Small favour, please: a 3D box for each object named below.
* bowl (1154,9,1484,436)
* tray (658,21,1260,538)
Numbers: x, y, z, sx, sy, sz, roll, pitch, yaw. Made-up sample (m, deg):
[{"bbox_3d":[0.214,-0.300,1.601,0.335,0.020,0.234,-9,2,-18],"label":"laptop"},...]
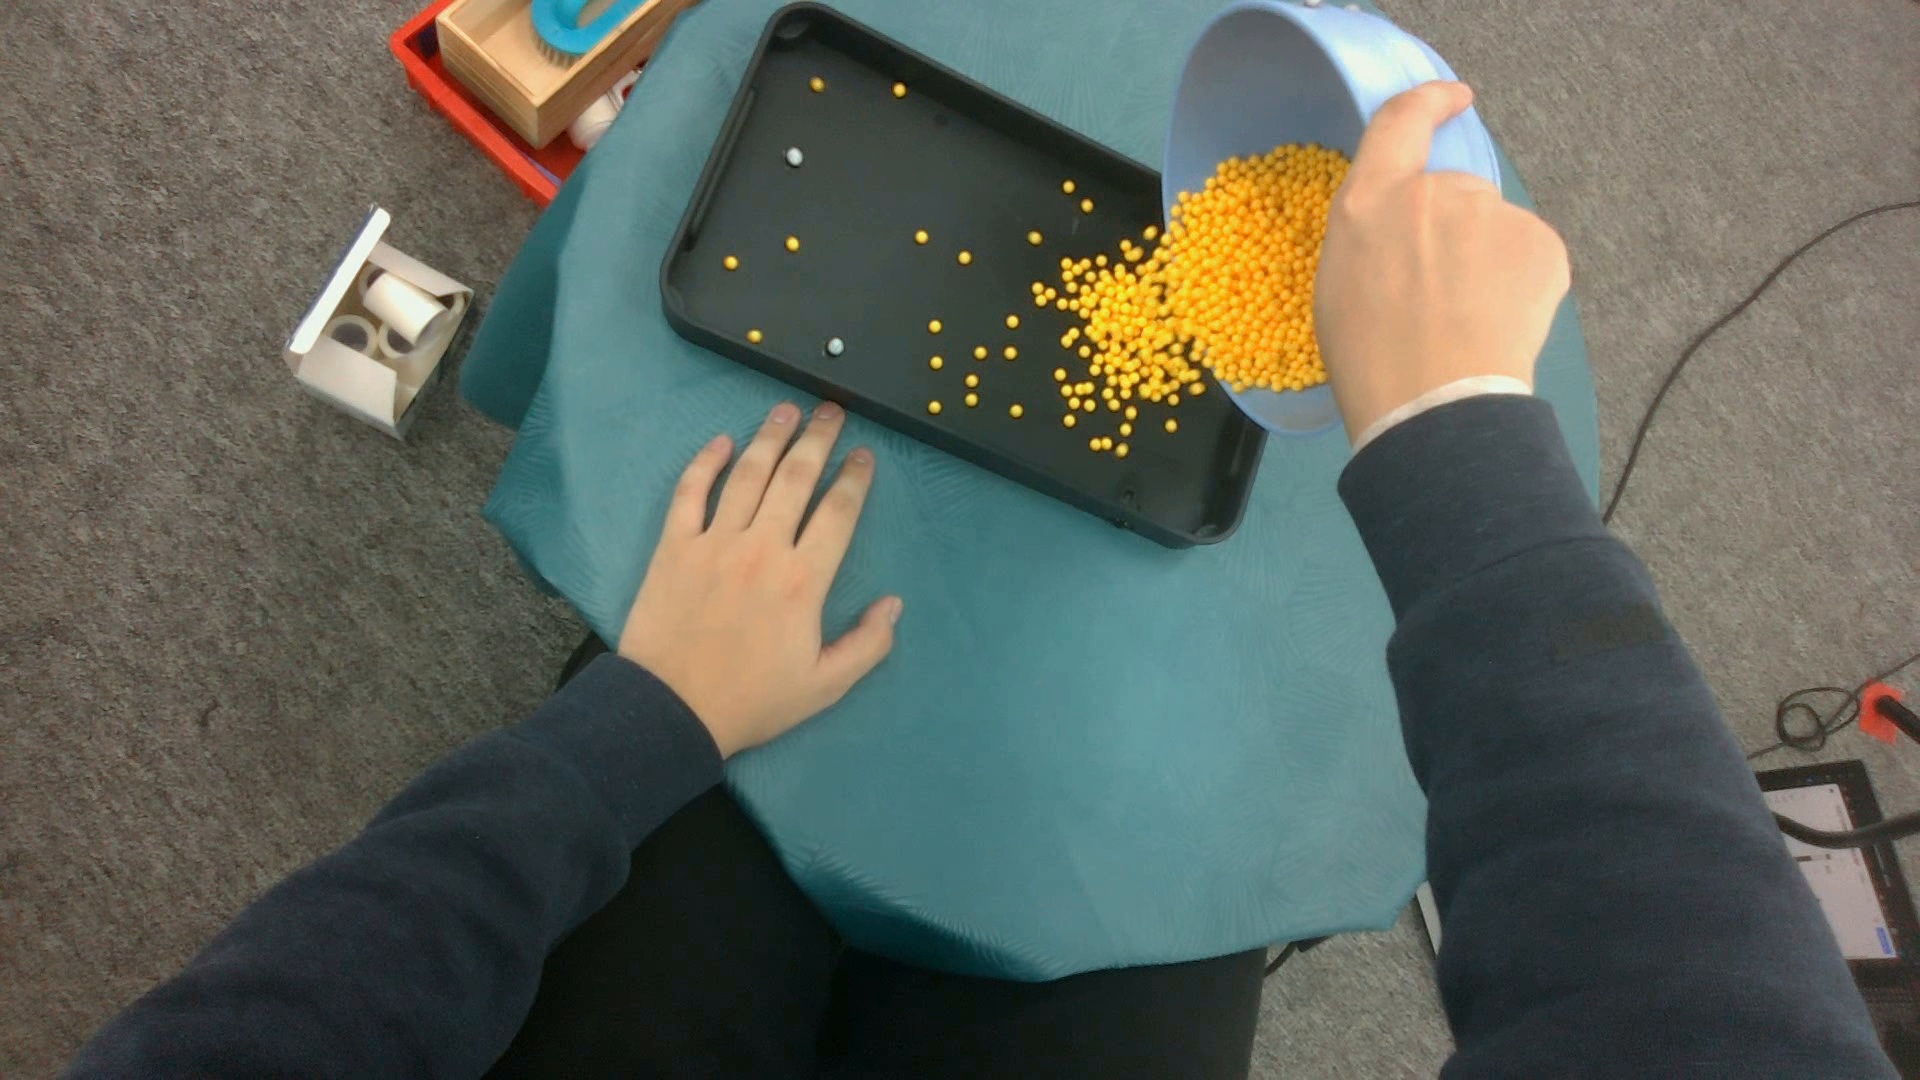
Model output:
[{"bbox_3d":[0.179,-0.155,0.651,0.095,0.196,0.196,-16,84,-14],"label":"bowl"},{"bbox_3d":[0.017,-0.132,0.728,0.318,0.037,0.185,20,76,-12],"label":"tray"}]
